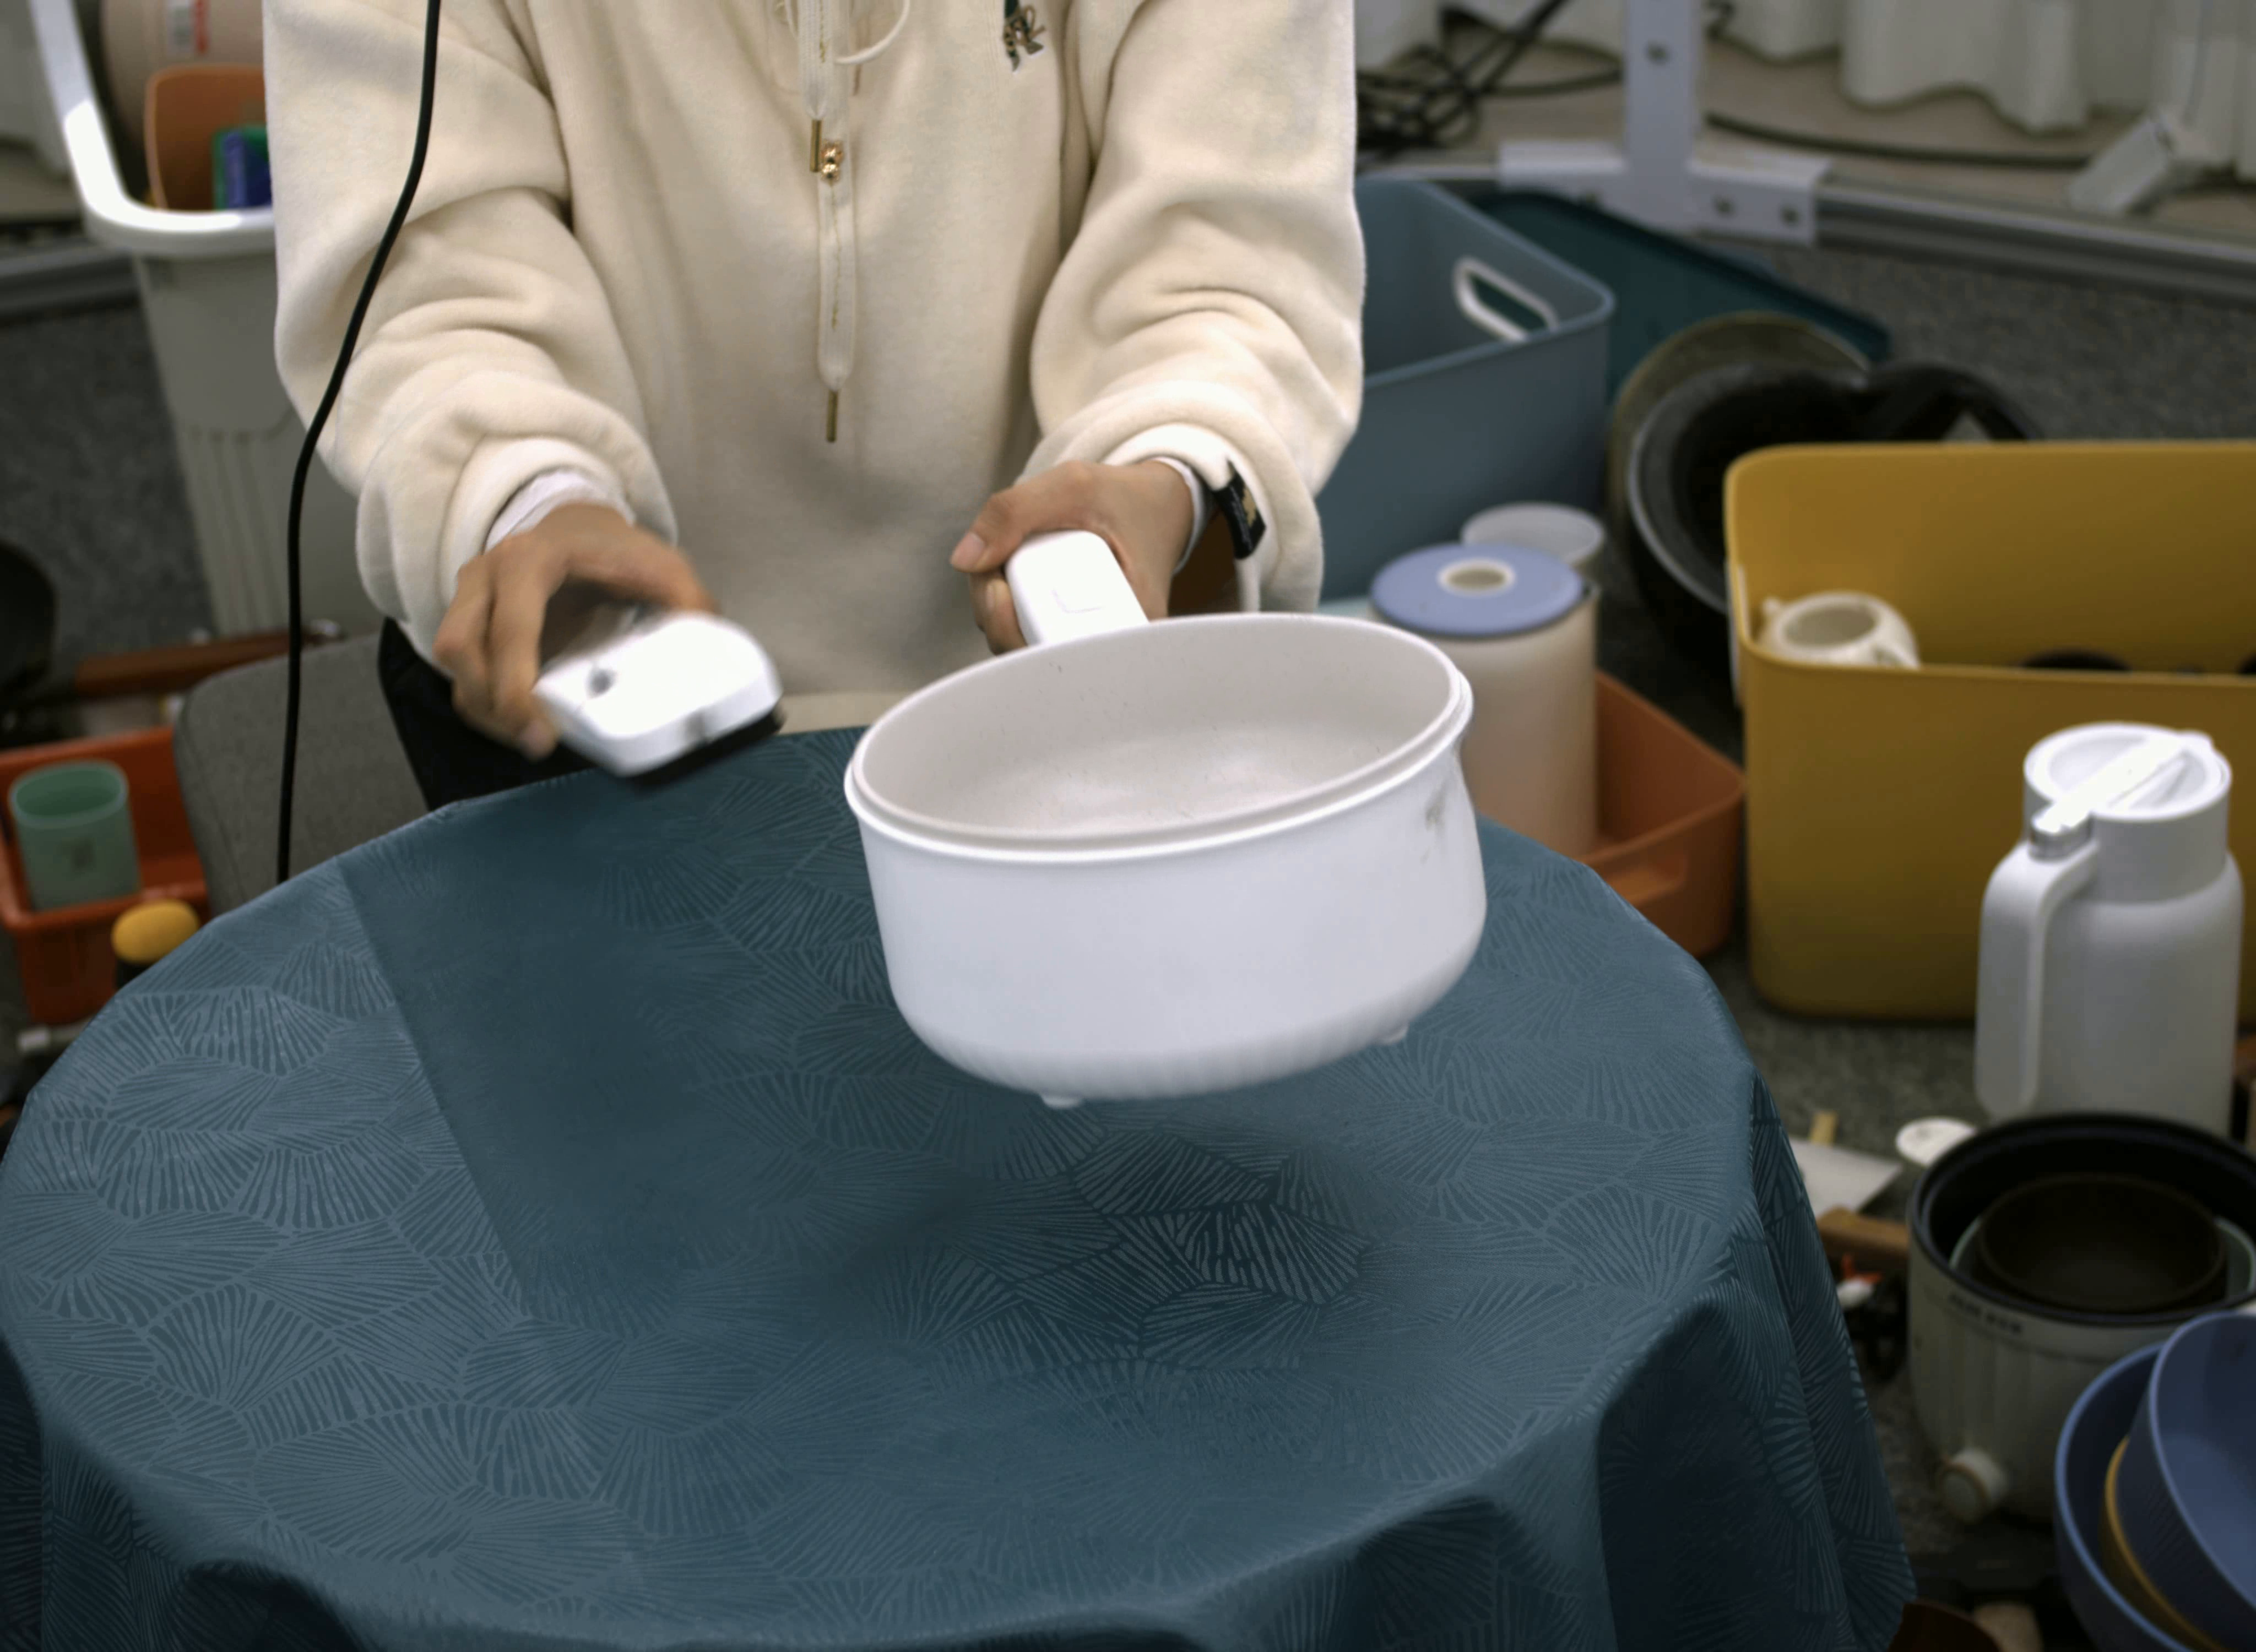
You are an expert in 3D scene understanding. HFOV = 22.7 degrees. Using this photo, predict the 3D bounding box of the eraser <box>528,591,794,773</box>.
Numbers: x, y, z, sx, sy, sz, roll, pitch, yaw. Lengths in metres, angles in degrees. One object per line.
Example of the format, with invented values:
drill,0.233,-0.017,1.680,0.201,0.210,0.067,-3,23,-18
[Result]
eraser,-0.155,-0.049,1.884,0.064,0.034,0.131,-23,16,-17

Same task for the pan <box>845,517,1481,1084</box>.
pan,0.003,-0.014,1.868,0.201,0.101,0.357,-9,18,-7
